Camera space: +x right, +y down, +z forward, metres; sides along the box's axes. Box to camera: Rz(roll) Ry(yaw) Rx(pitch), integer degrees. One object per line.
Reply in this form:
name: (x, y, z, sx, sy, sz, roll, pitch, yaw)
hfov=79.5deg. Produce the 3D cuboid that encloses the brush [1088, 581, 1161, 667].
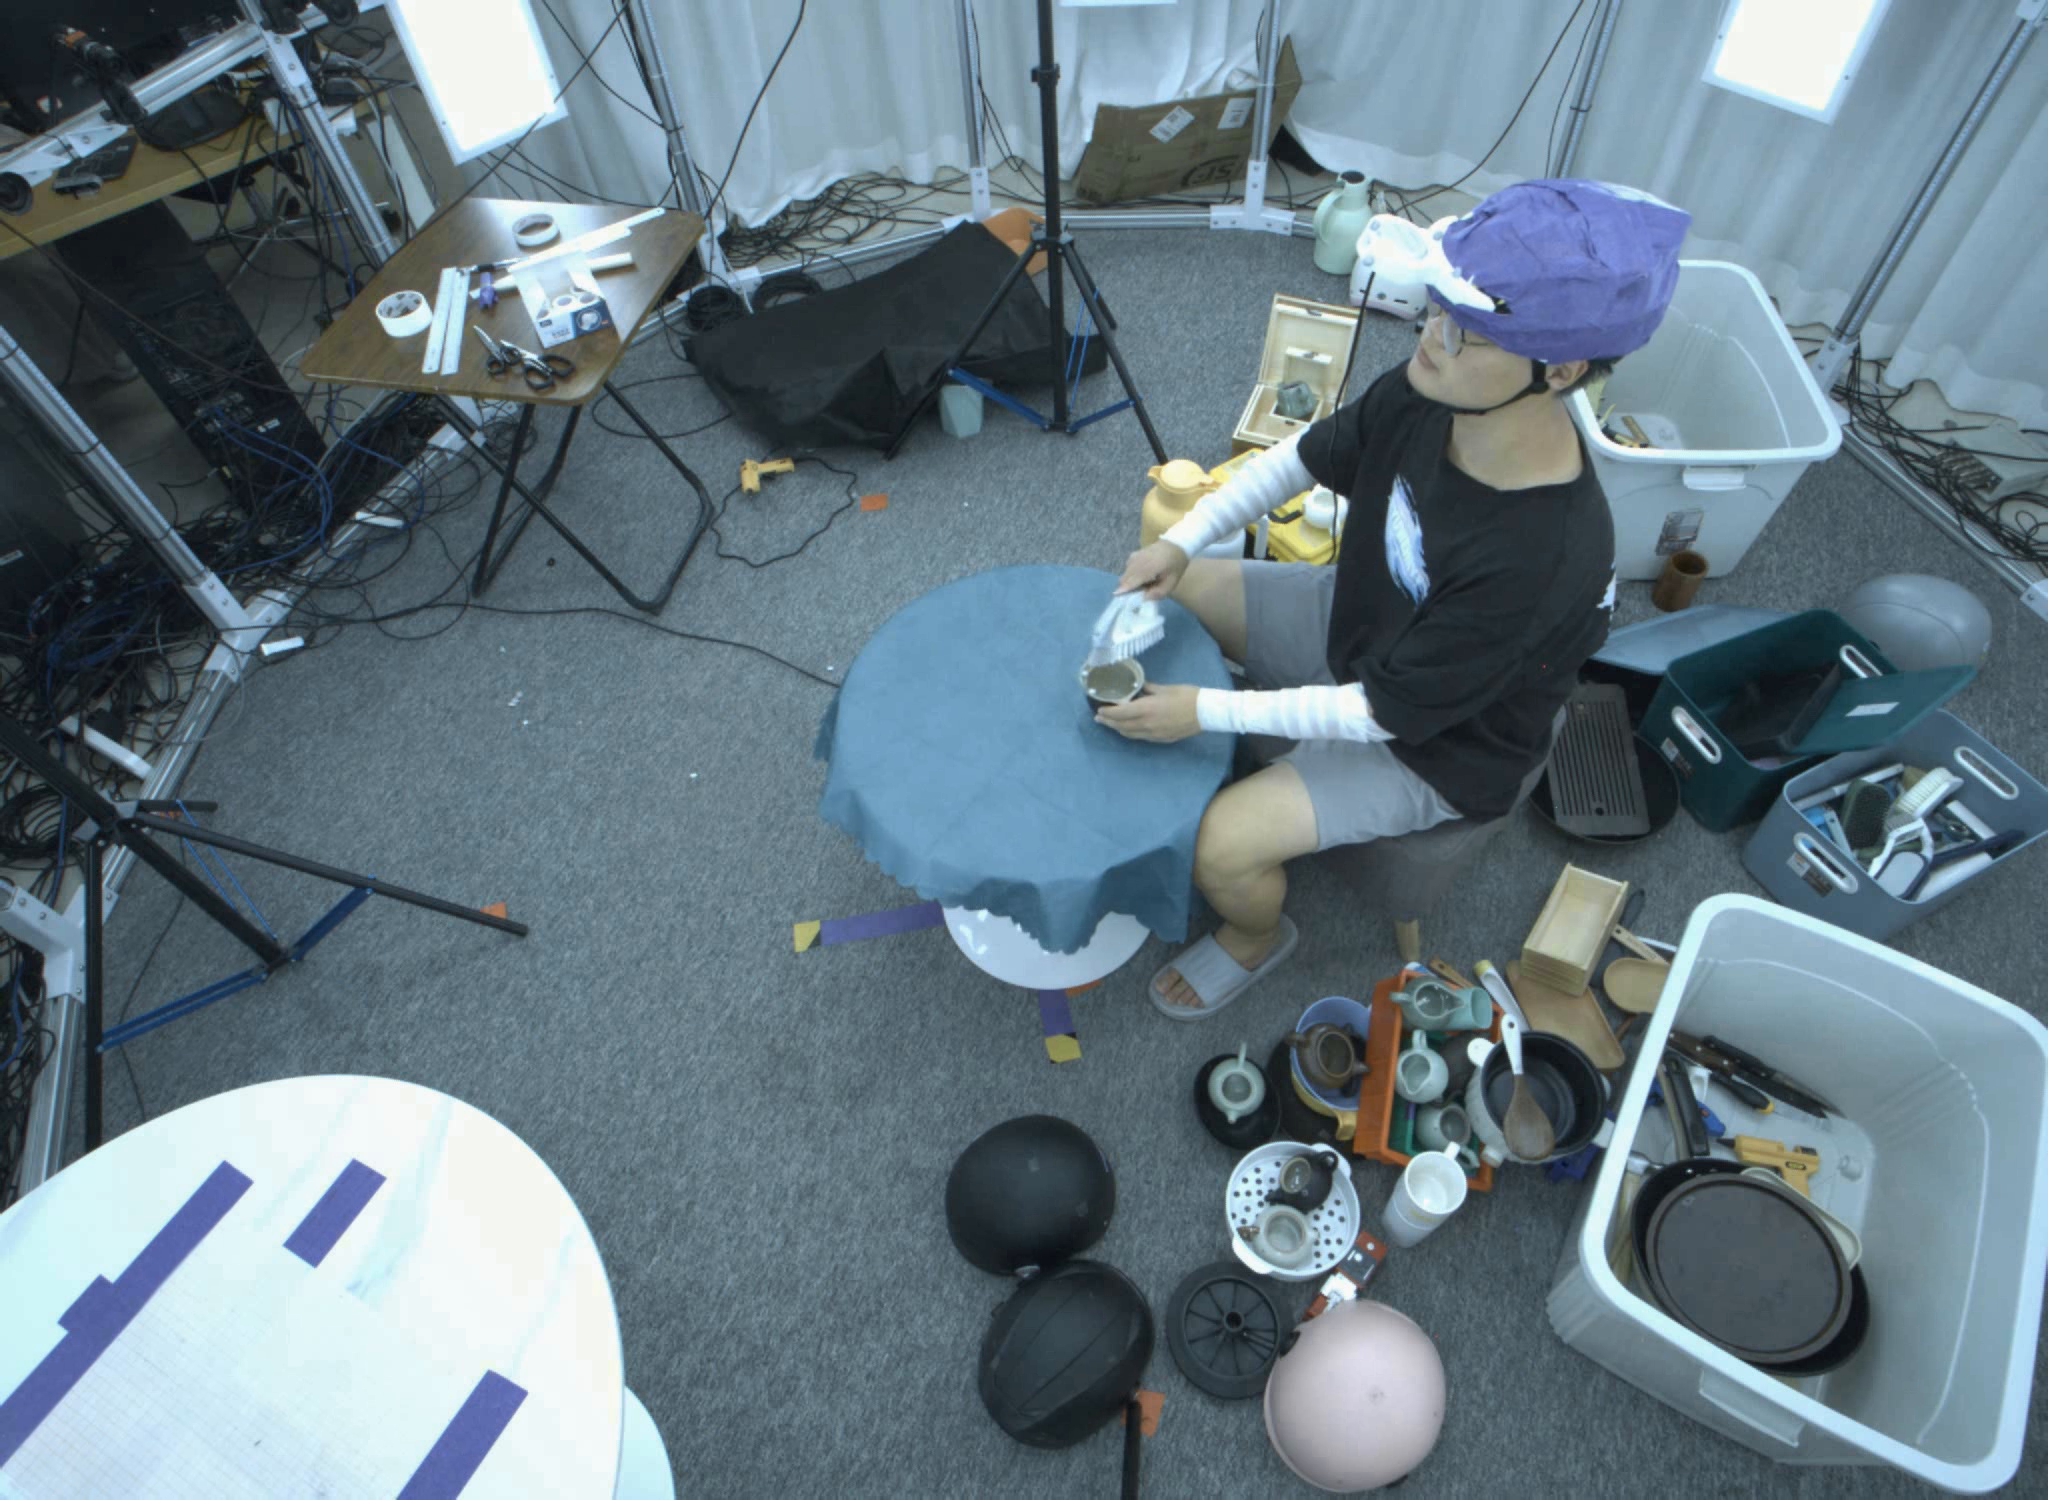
brush: (0.137, -0.187, 1.781, 0.060, 0.095, 0.177, 12, 30, 31)

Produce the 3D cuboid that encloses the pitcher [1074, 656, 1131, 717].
pitcher: (0.116, -0.085, 1.790, 0.084, 0.072, 0.094, -17, 58, -11)
